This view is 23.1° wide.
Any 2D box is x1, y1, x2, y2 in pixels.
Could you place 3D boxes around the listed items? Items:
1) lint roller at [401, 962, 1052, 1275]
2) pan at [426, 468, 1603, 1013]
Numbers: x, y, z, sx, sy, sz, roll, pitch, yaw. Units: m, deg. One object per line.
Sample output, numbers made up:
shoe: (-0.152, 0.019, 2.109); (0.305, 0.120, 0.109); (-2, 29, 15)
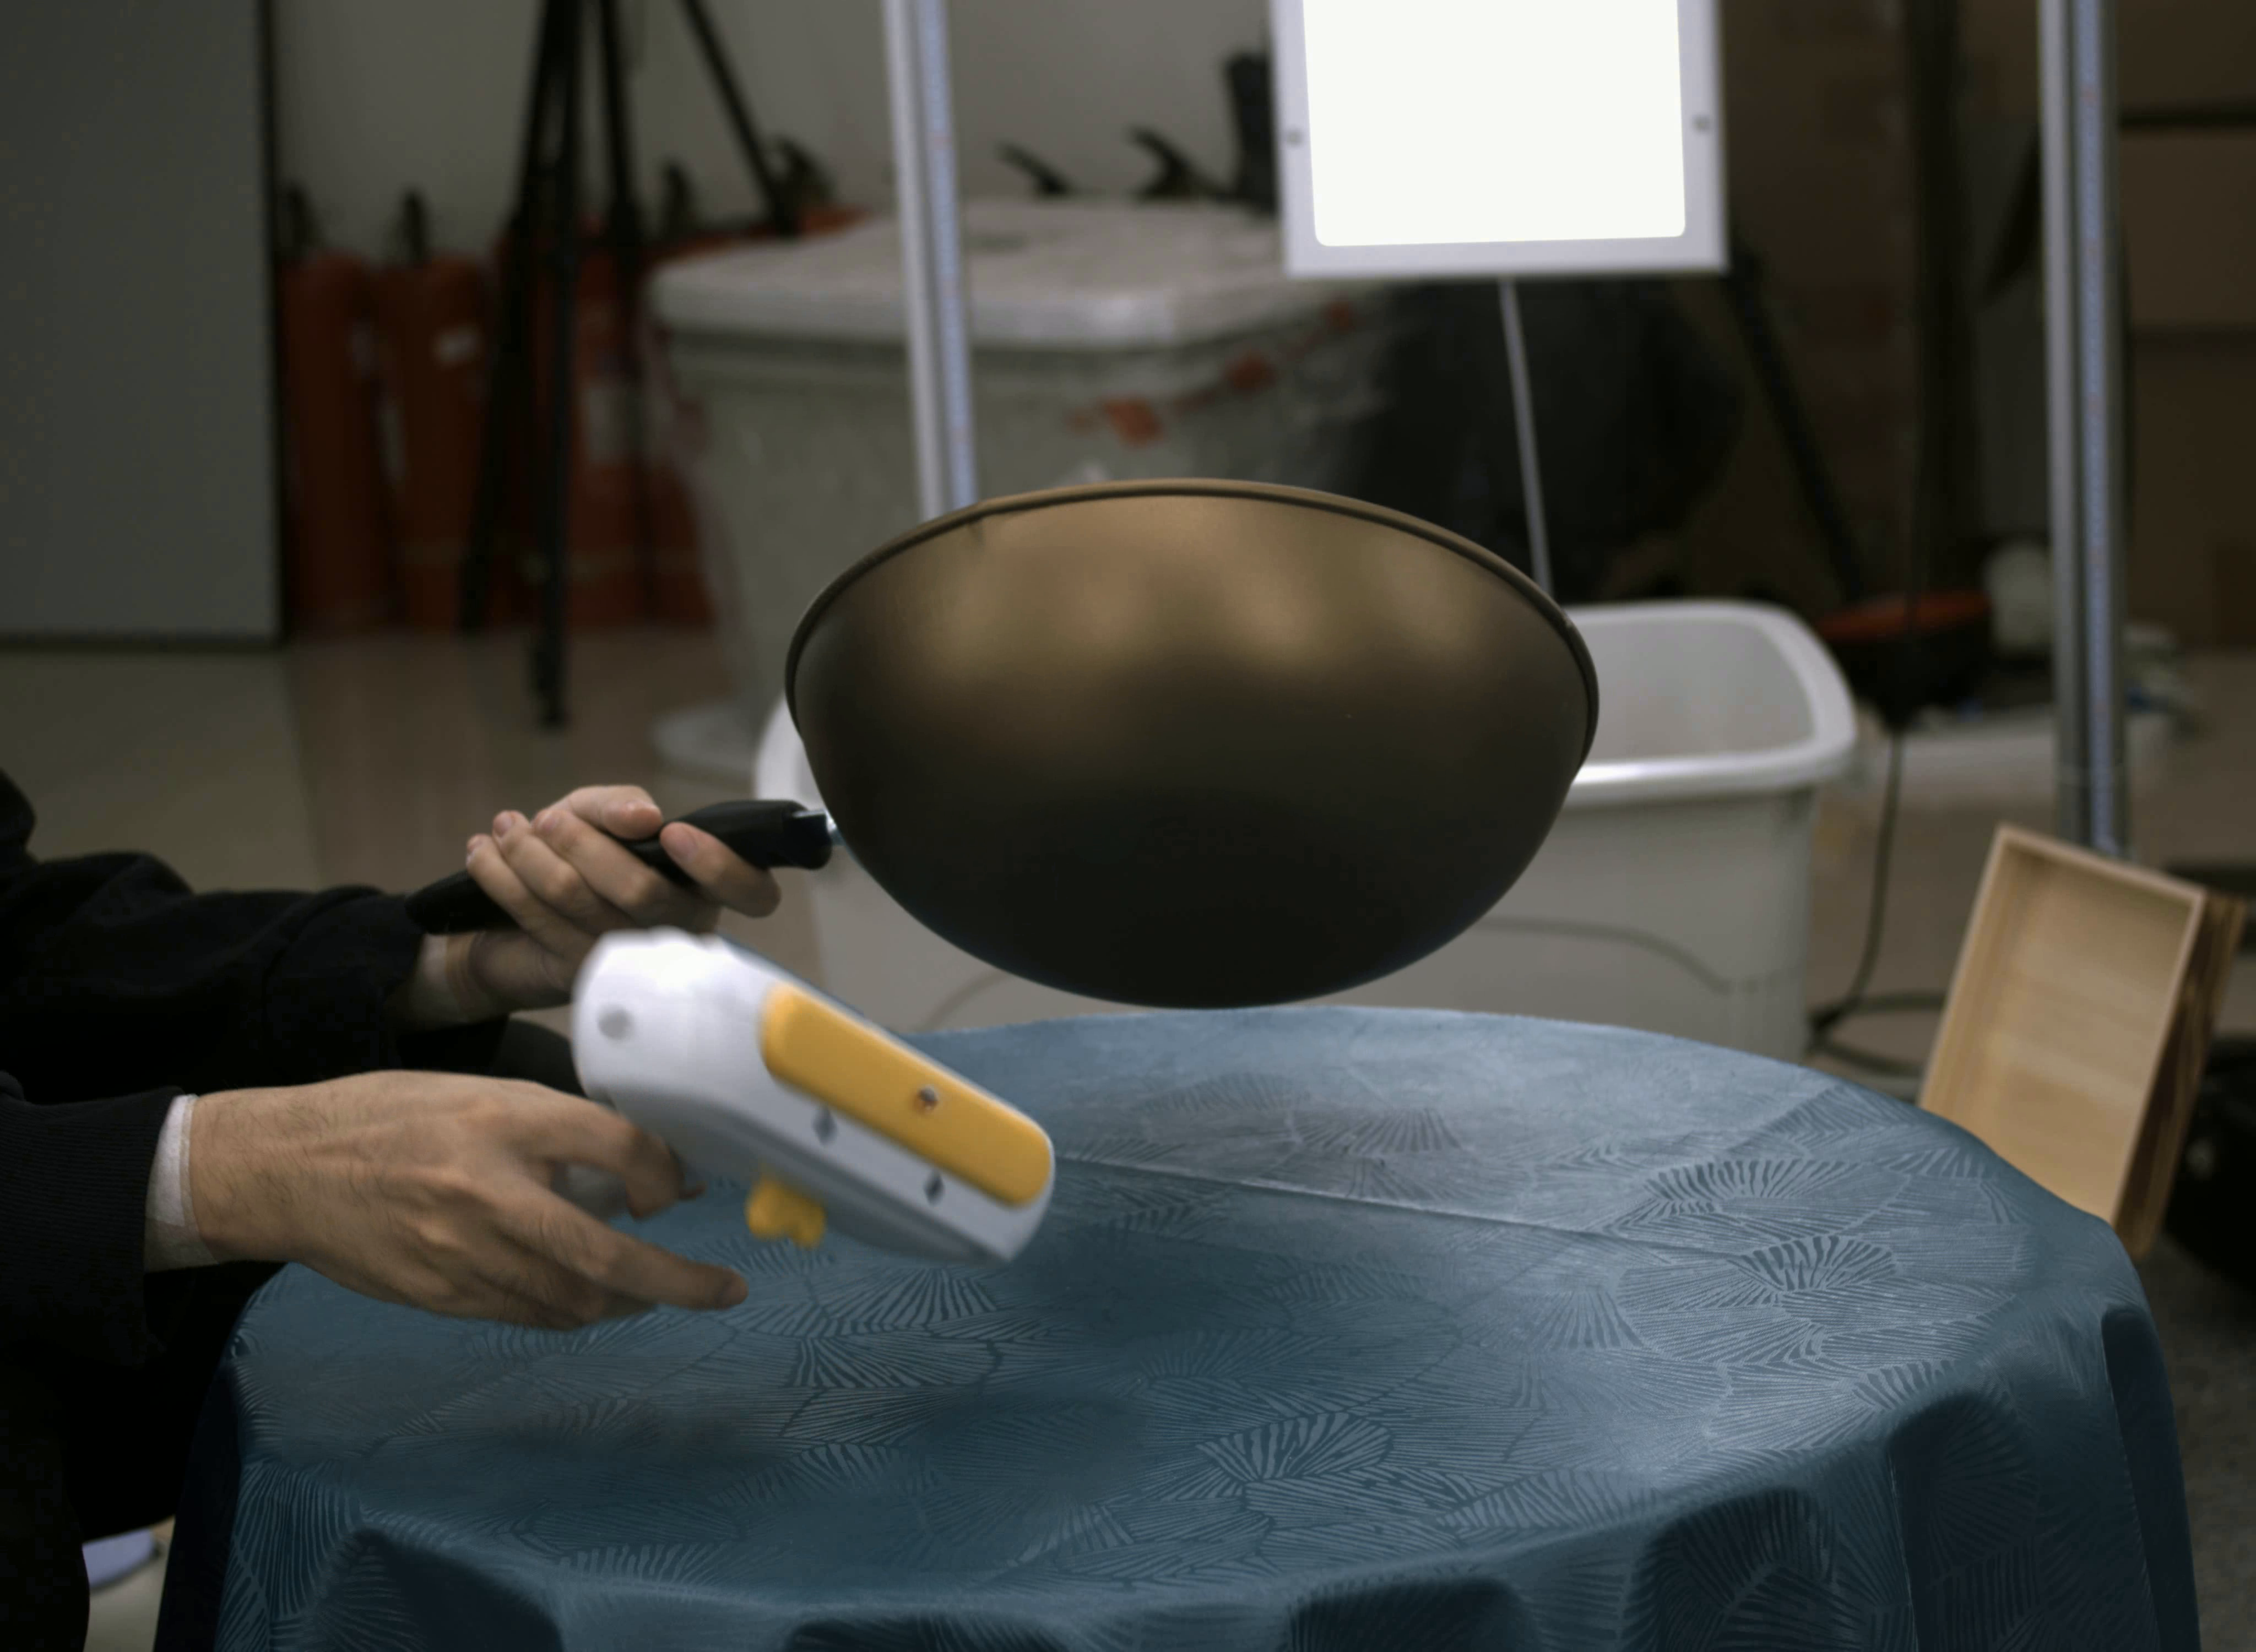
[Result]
lint roller: (-0.143, 0.101, 1.686); (0.196, 0.074, 0.189); (-7, -19, 36)
pan: (-0.058, 0.010, 1.895); (0.472, 0.086, 0.283); (-14, -34, 29)
